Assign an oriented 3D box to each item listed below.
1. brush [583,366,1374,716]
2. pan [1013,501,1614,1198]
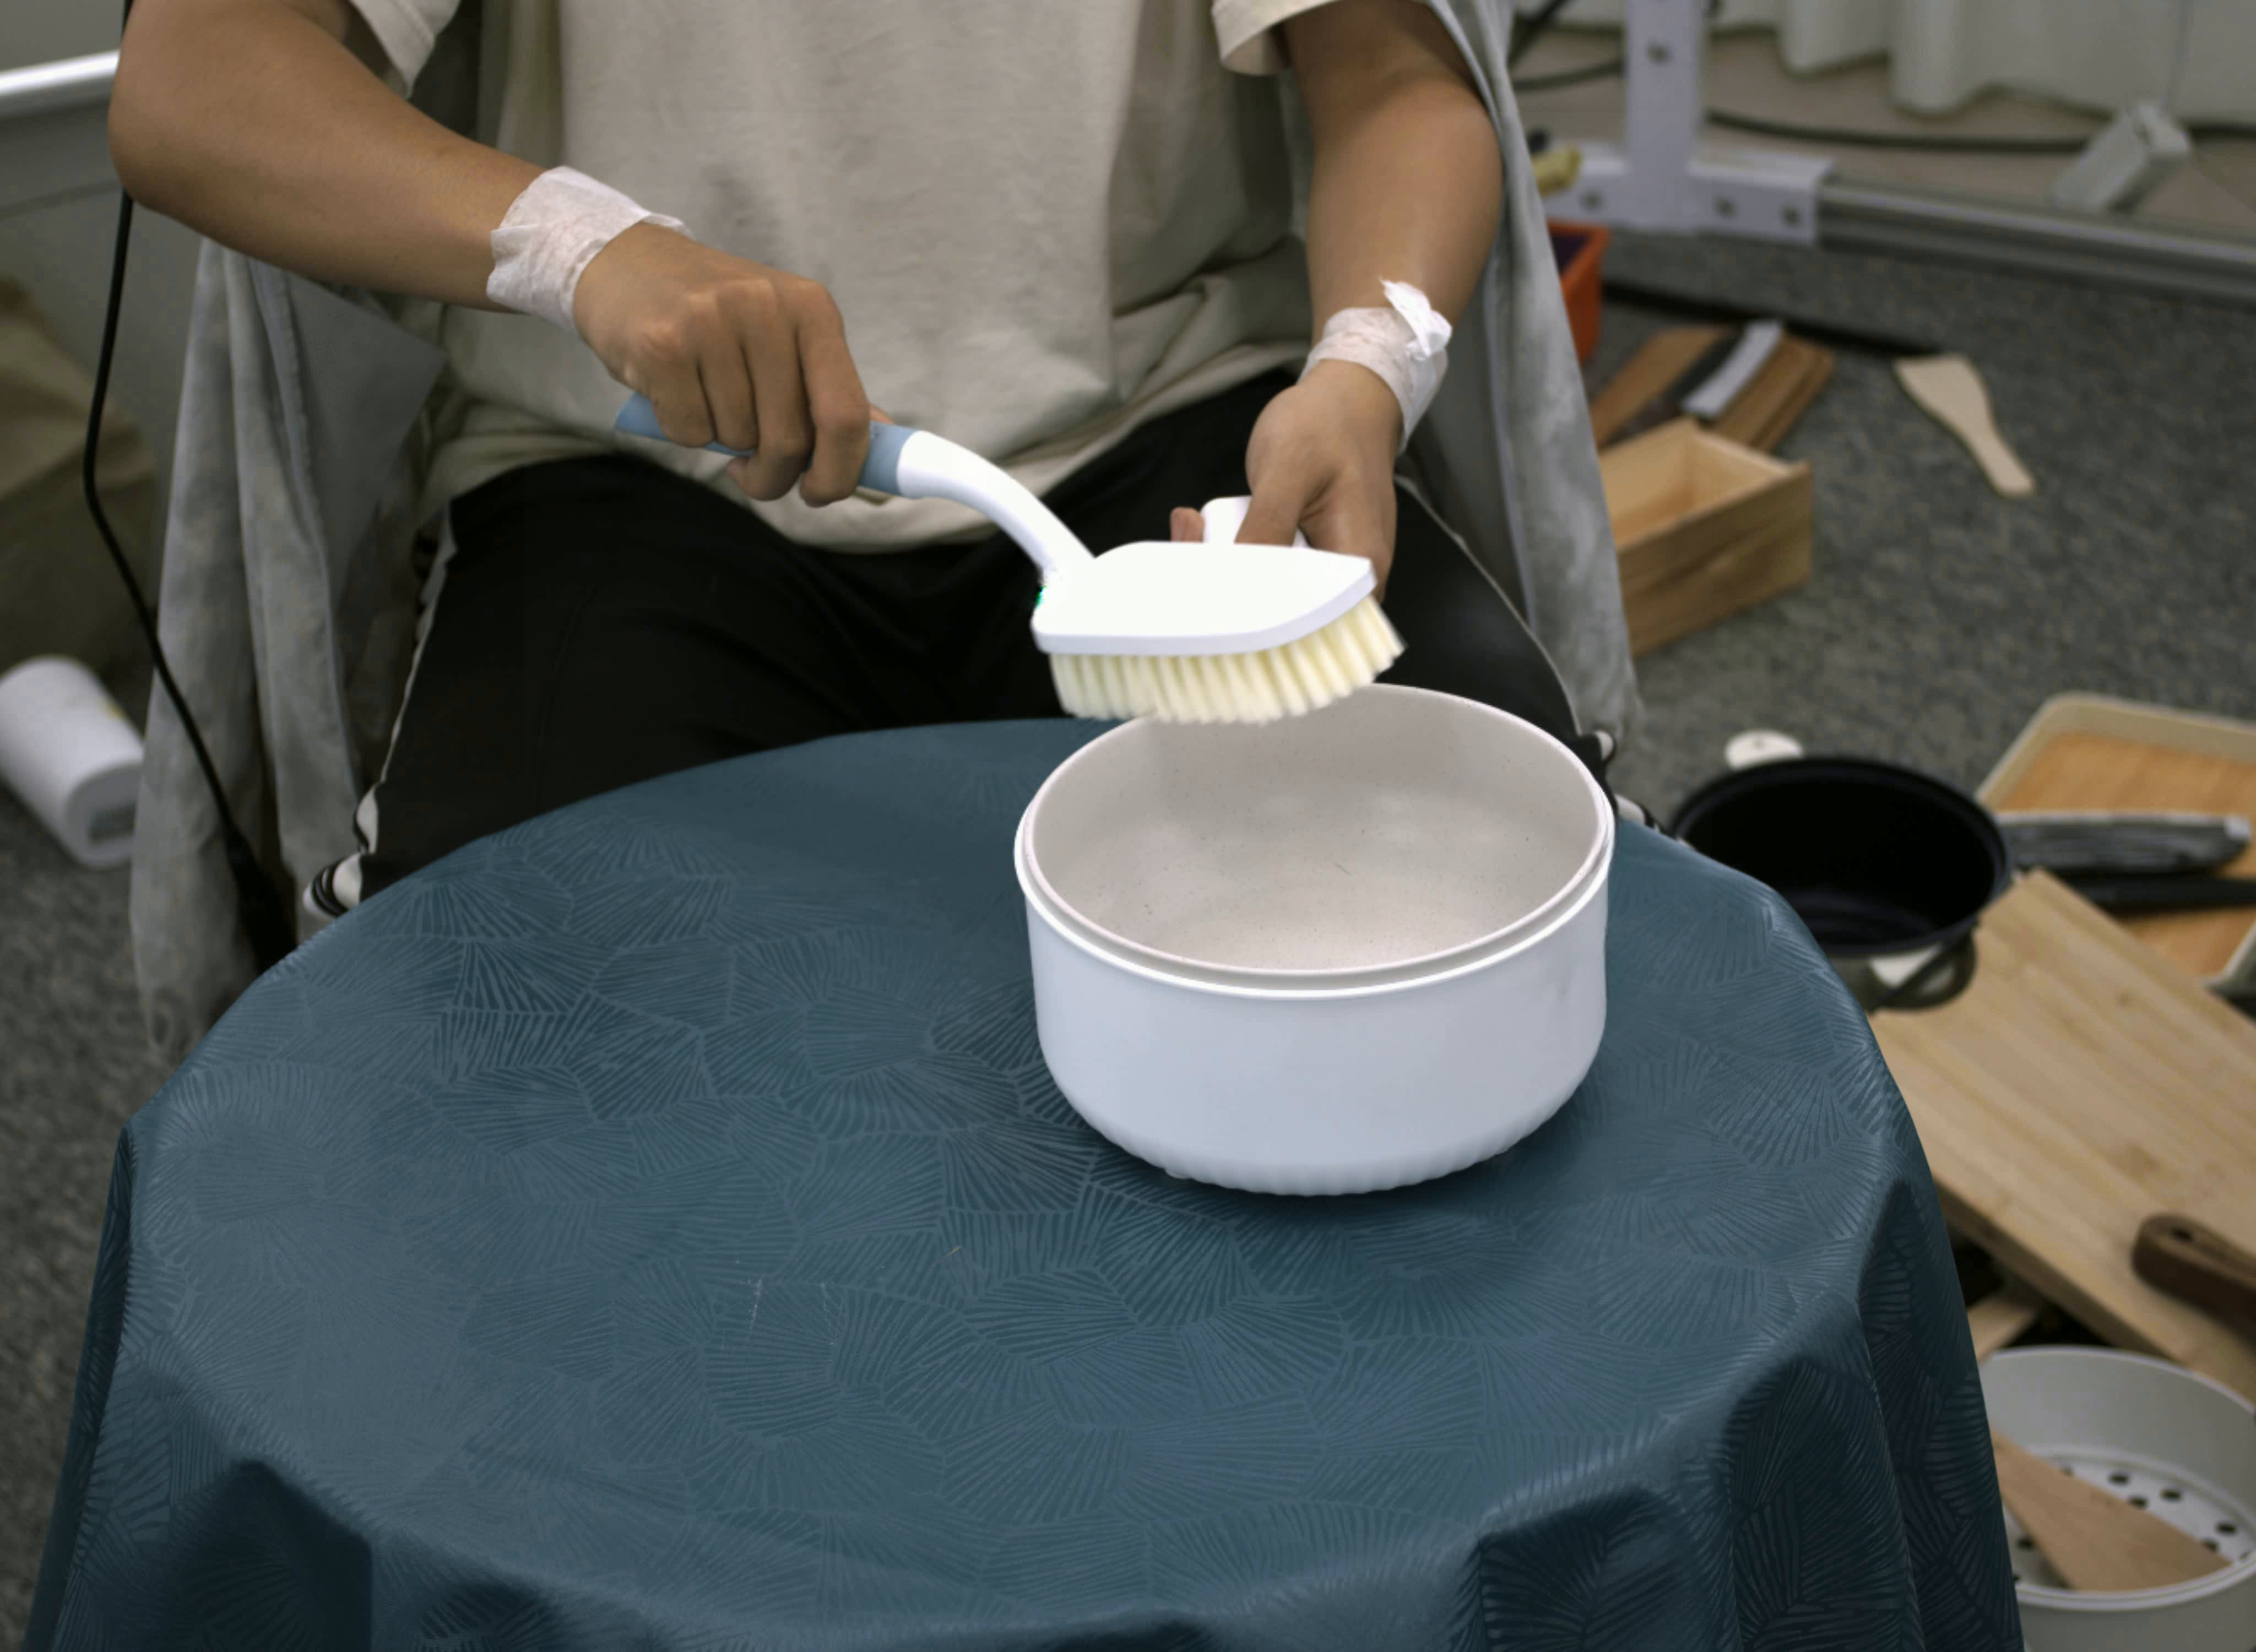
[{"bbox_3d":[-0.055,-0.091,1.998,0.324,0.085,0.083,14,-2,29],"label":"brush"},{"bbox_3d":[0.059,0.006,1.964,0.200,0.101,0.360,-5,28,-2],"label":"pan"}]
